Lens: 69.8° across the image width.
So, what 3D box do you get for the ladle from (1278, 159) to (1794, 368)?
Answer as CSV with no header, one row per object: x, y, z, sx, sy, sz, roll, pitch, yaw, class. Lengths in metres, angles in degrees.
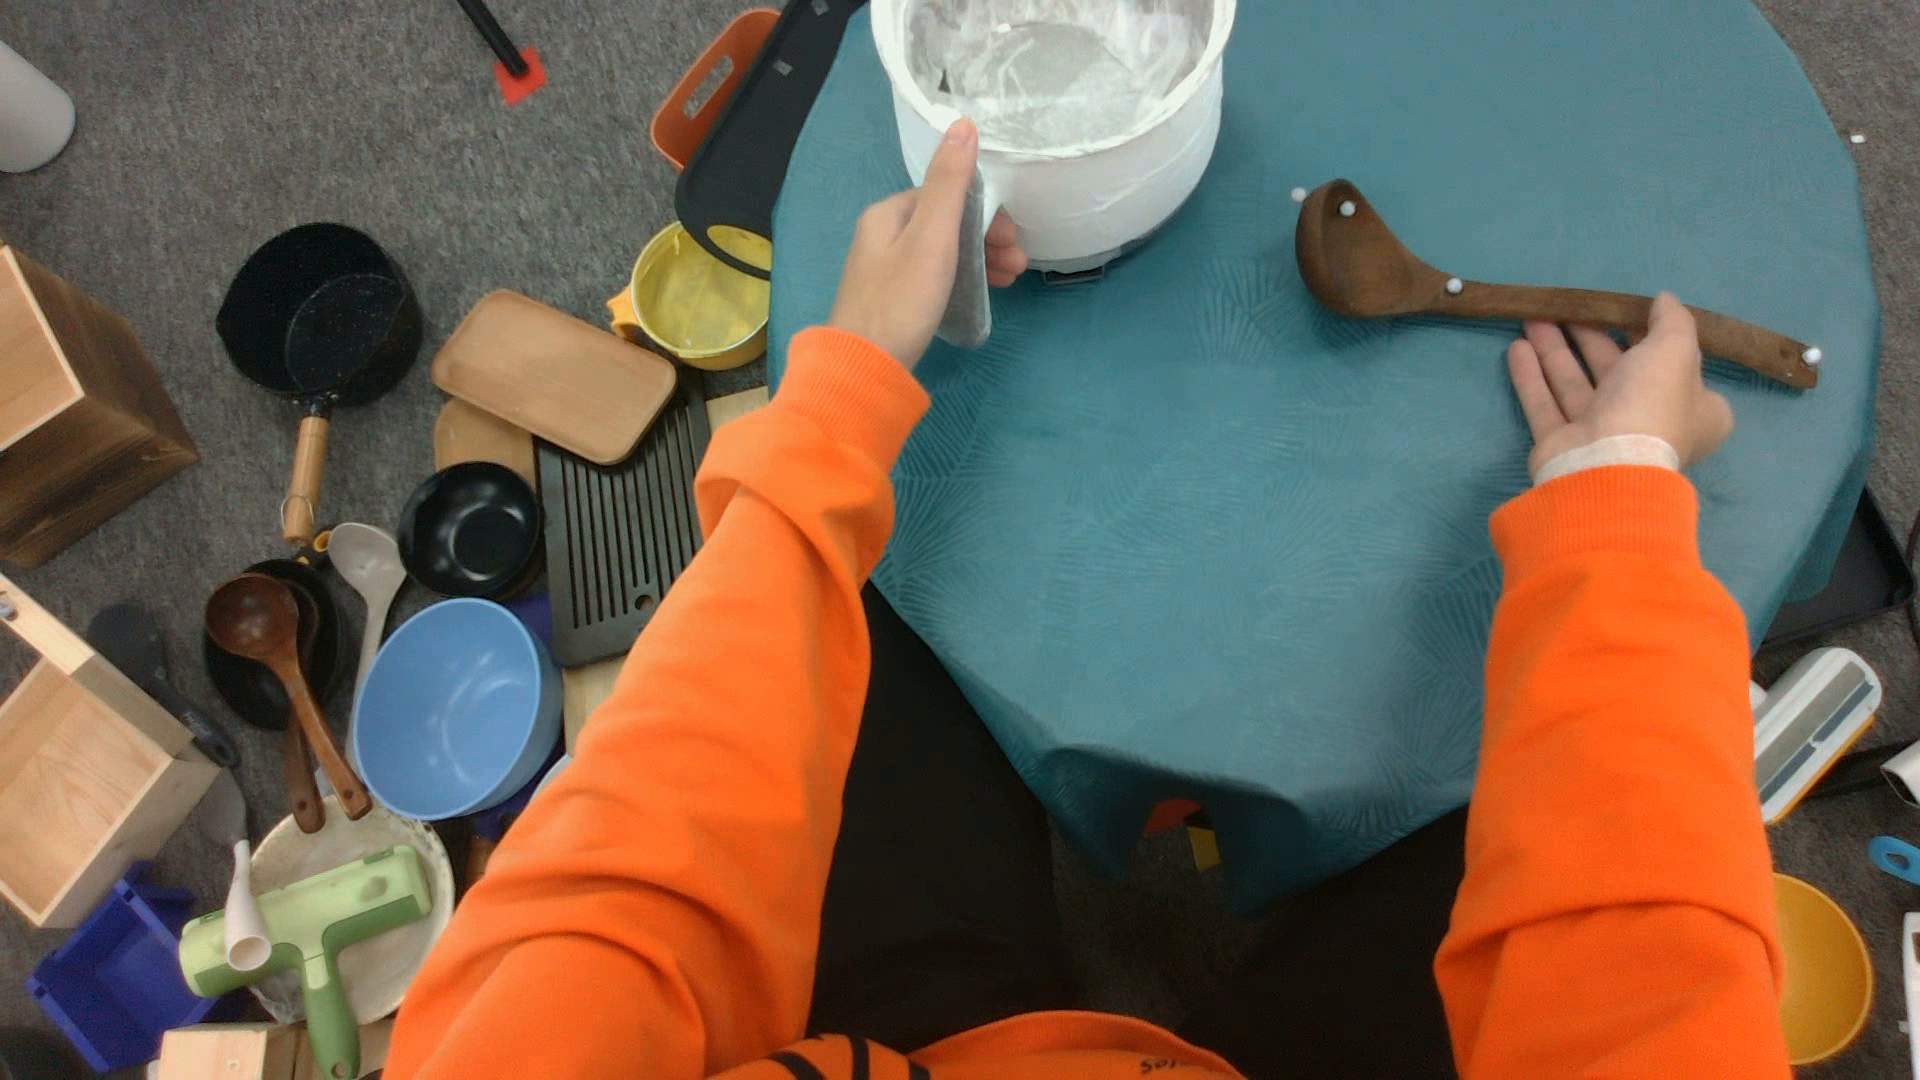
0.301,-0.140,0.711,0.274,0.071,0.076,12,68,9,ladle

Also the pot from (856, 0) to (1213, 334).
0.031,-0.228,0.727,0.178,0.136,0.234,20,76,11,pot
